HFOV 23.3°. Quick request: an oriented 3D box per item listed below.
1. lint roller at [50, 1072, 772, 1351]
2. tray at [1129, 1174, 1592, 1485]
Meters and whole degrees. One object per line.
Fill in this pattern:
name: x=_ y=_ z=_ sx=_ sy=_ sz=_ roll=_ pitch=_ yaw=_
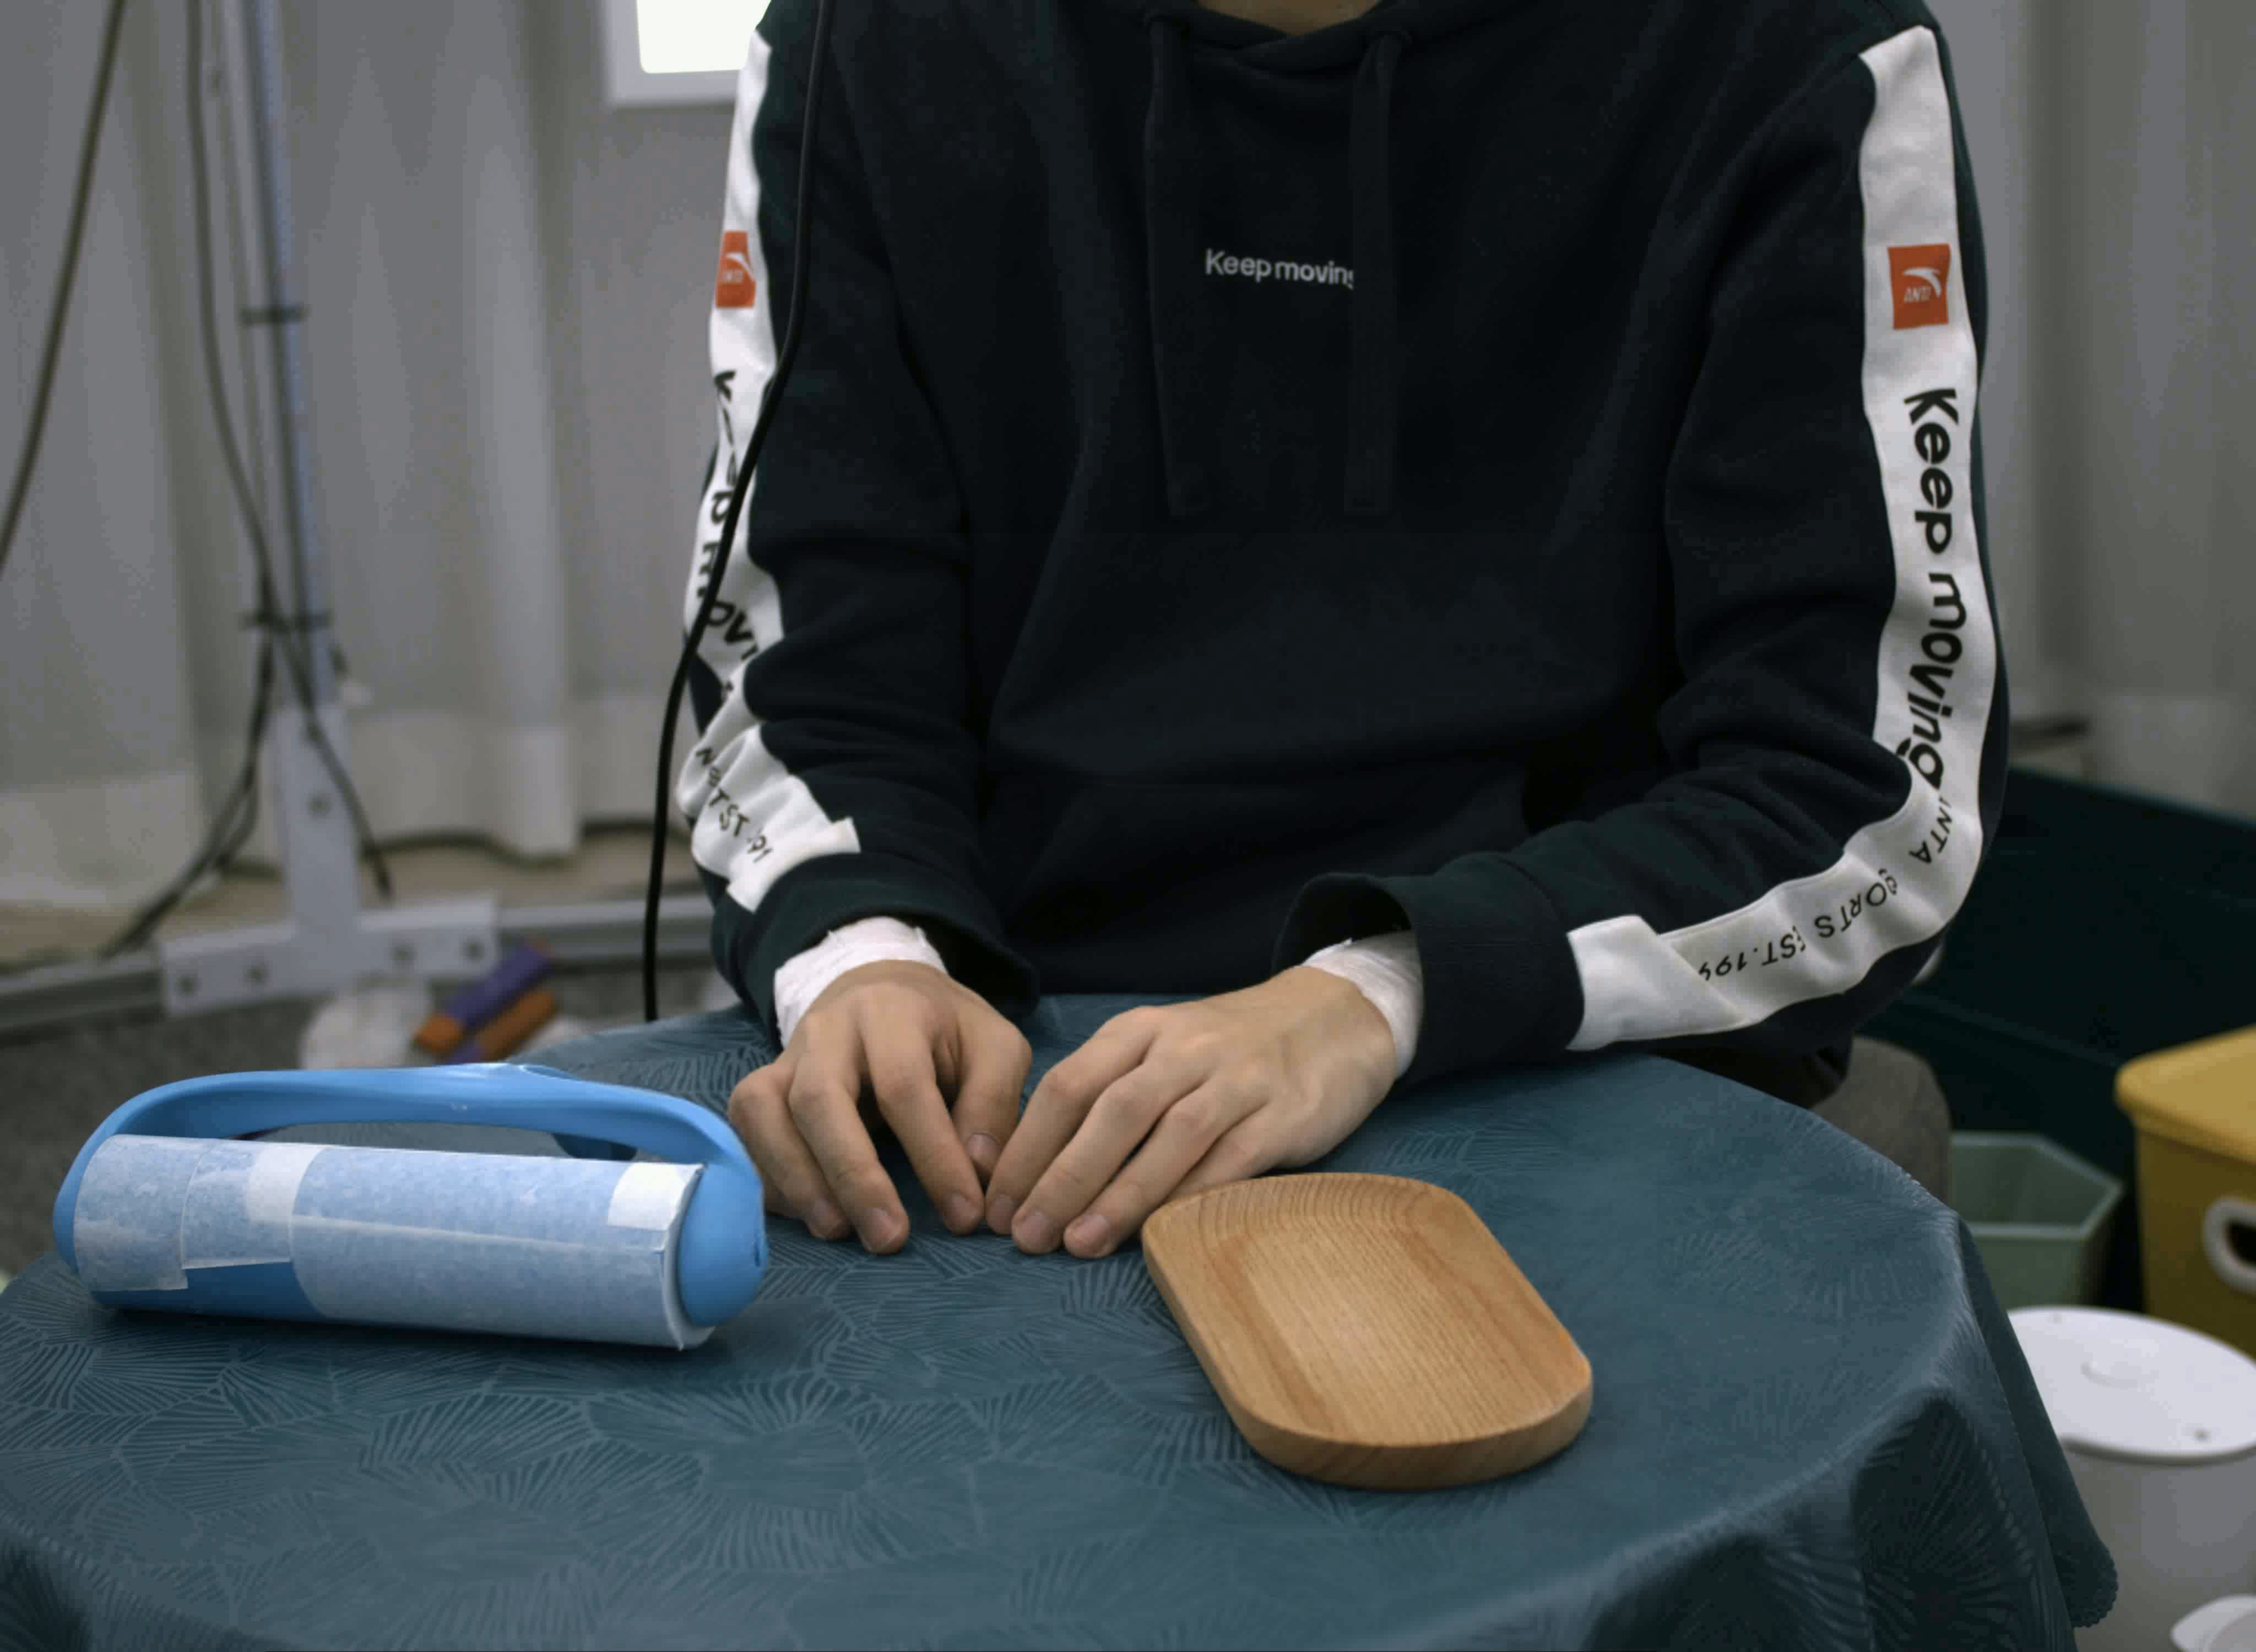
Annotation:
lint roller: x=-0.199 y=0.106 z=1.676 sx=0.229 sy=0.067 sz=0.181 roll=0 pitch=16 yaw=17
tray: x=0.064 y=0.142 z=1.568 sx=0.101 sy=0.020 sz=0.233 roll=-5 pitch=13 yaw=-11
